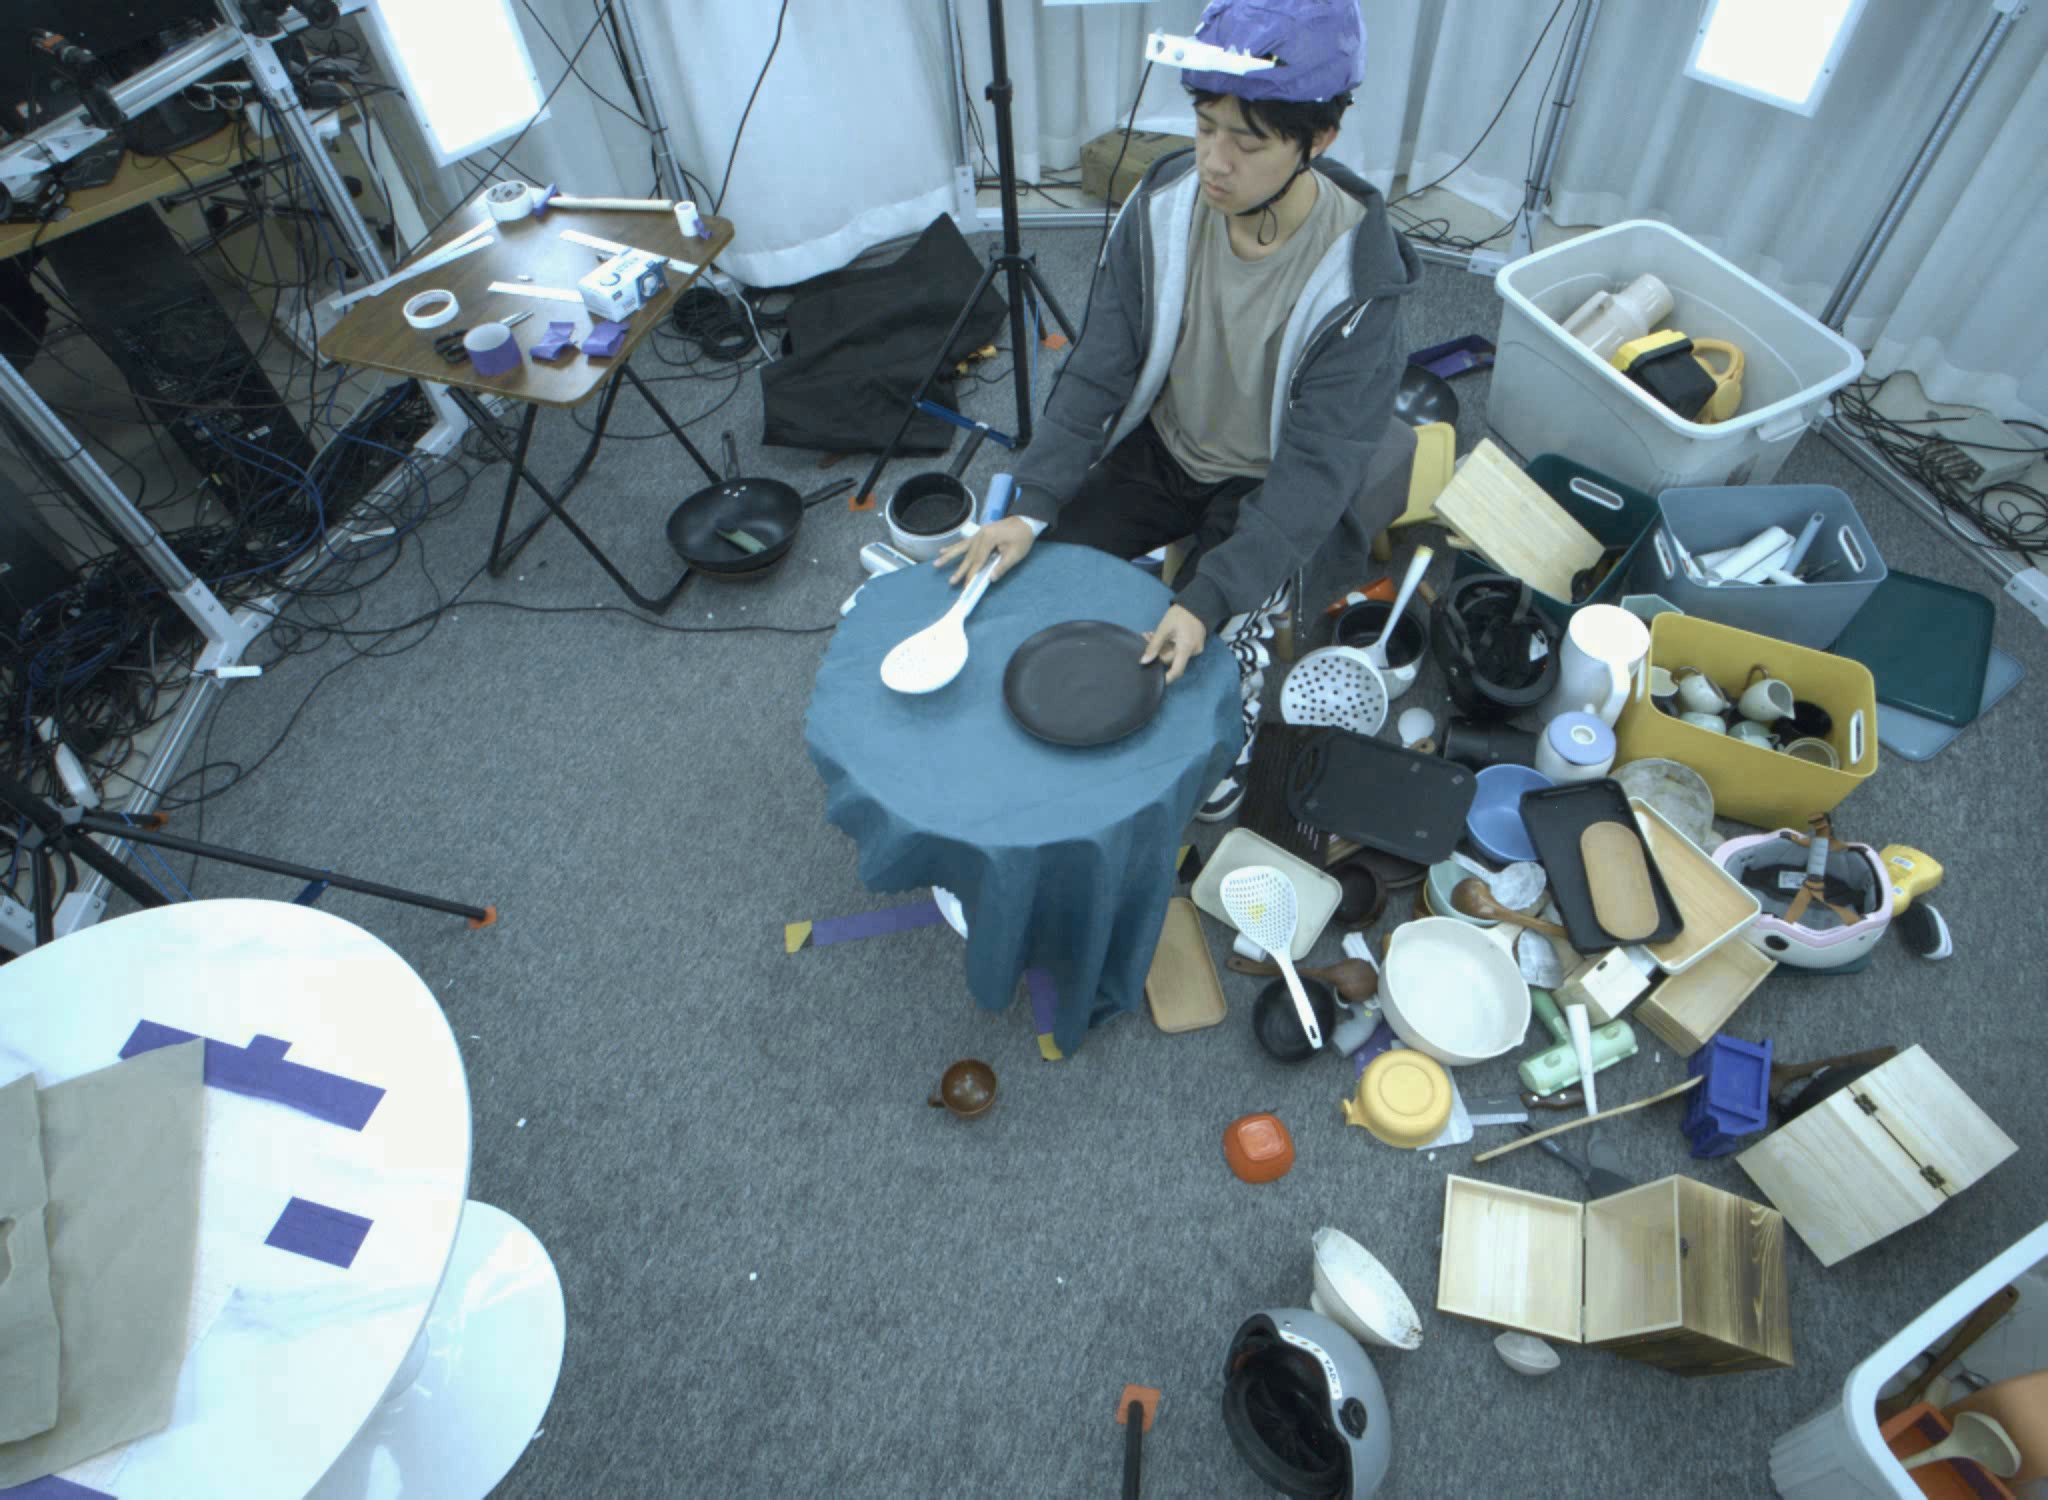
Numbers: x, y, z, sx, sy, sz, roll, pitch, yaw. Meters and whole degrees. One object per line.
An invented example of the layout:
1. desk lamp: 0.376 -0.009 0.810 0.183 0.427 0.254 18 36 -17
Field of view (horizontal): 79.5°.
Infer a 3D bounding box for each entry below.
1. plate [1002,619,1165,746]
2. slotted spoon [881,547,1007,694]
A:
1. plate: 0.088 -0.099 1.841 0.244 0.024 0.242 -1 54 3
2. slotted spoon: -0.107 -0.206 1.909 0.134 0.046 0.349 9 54 24
